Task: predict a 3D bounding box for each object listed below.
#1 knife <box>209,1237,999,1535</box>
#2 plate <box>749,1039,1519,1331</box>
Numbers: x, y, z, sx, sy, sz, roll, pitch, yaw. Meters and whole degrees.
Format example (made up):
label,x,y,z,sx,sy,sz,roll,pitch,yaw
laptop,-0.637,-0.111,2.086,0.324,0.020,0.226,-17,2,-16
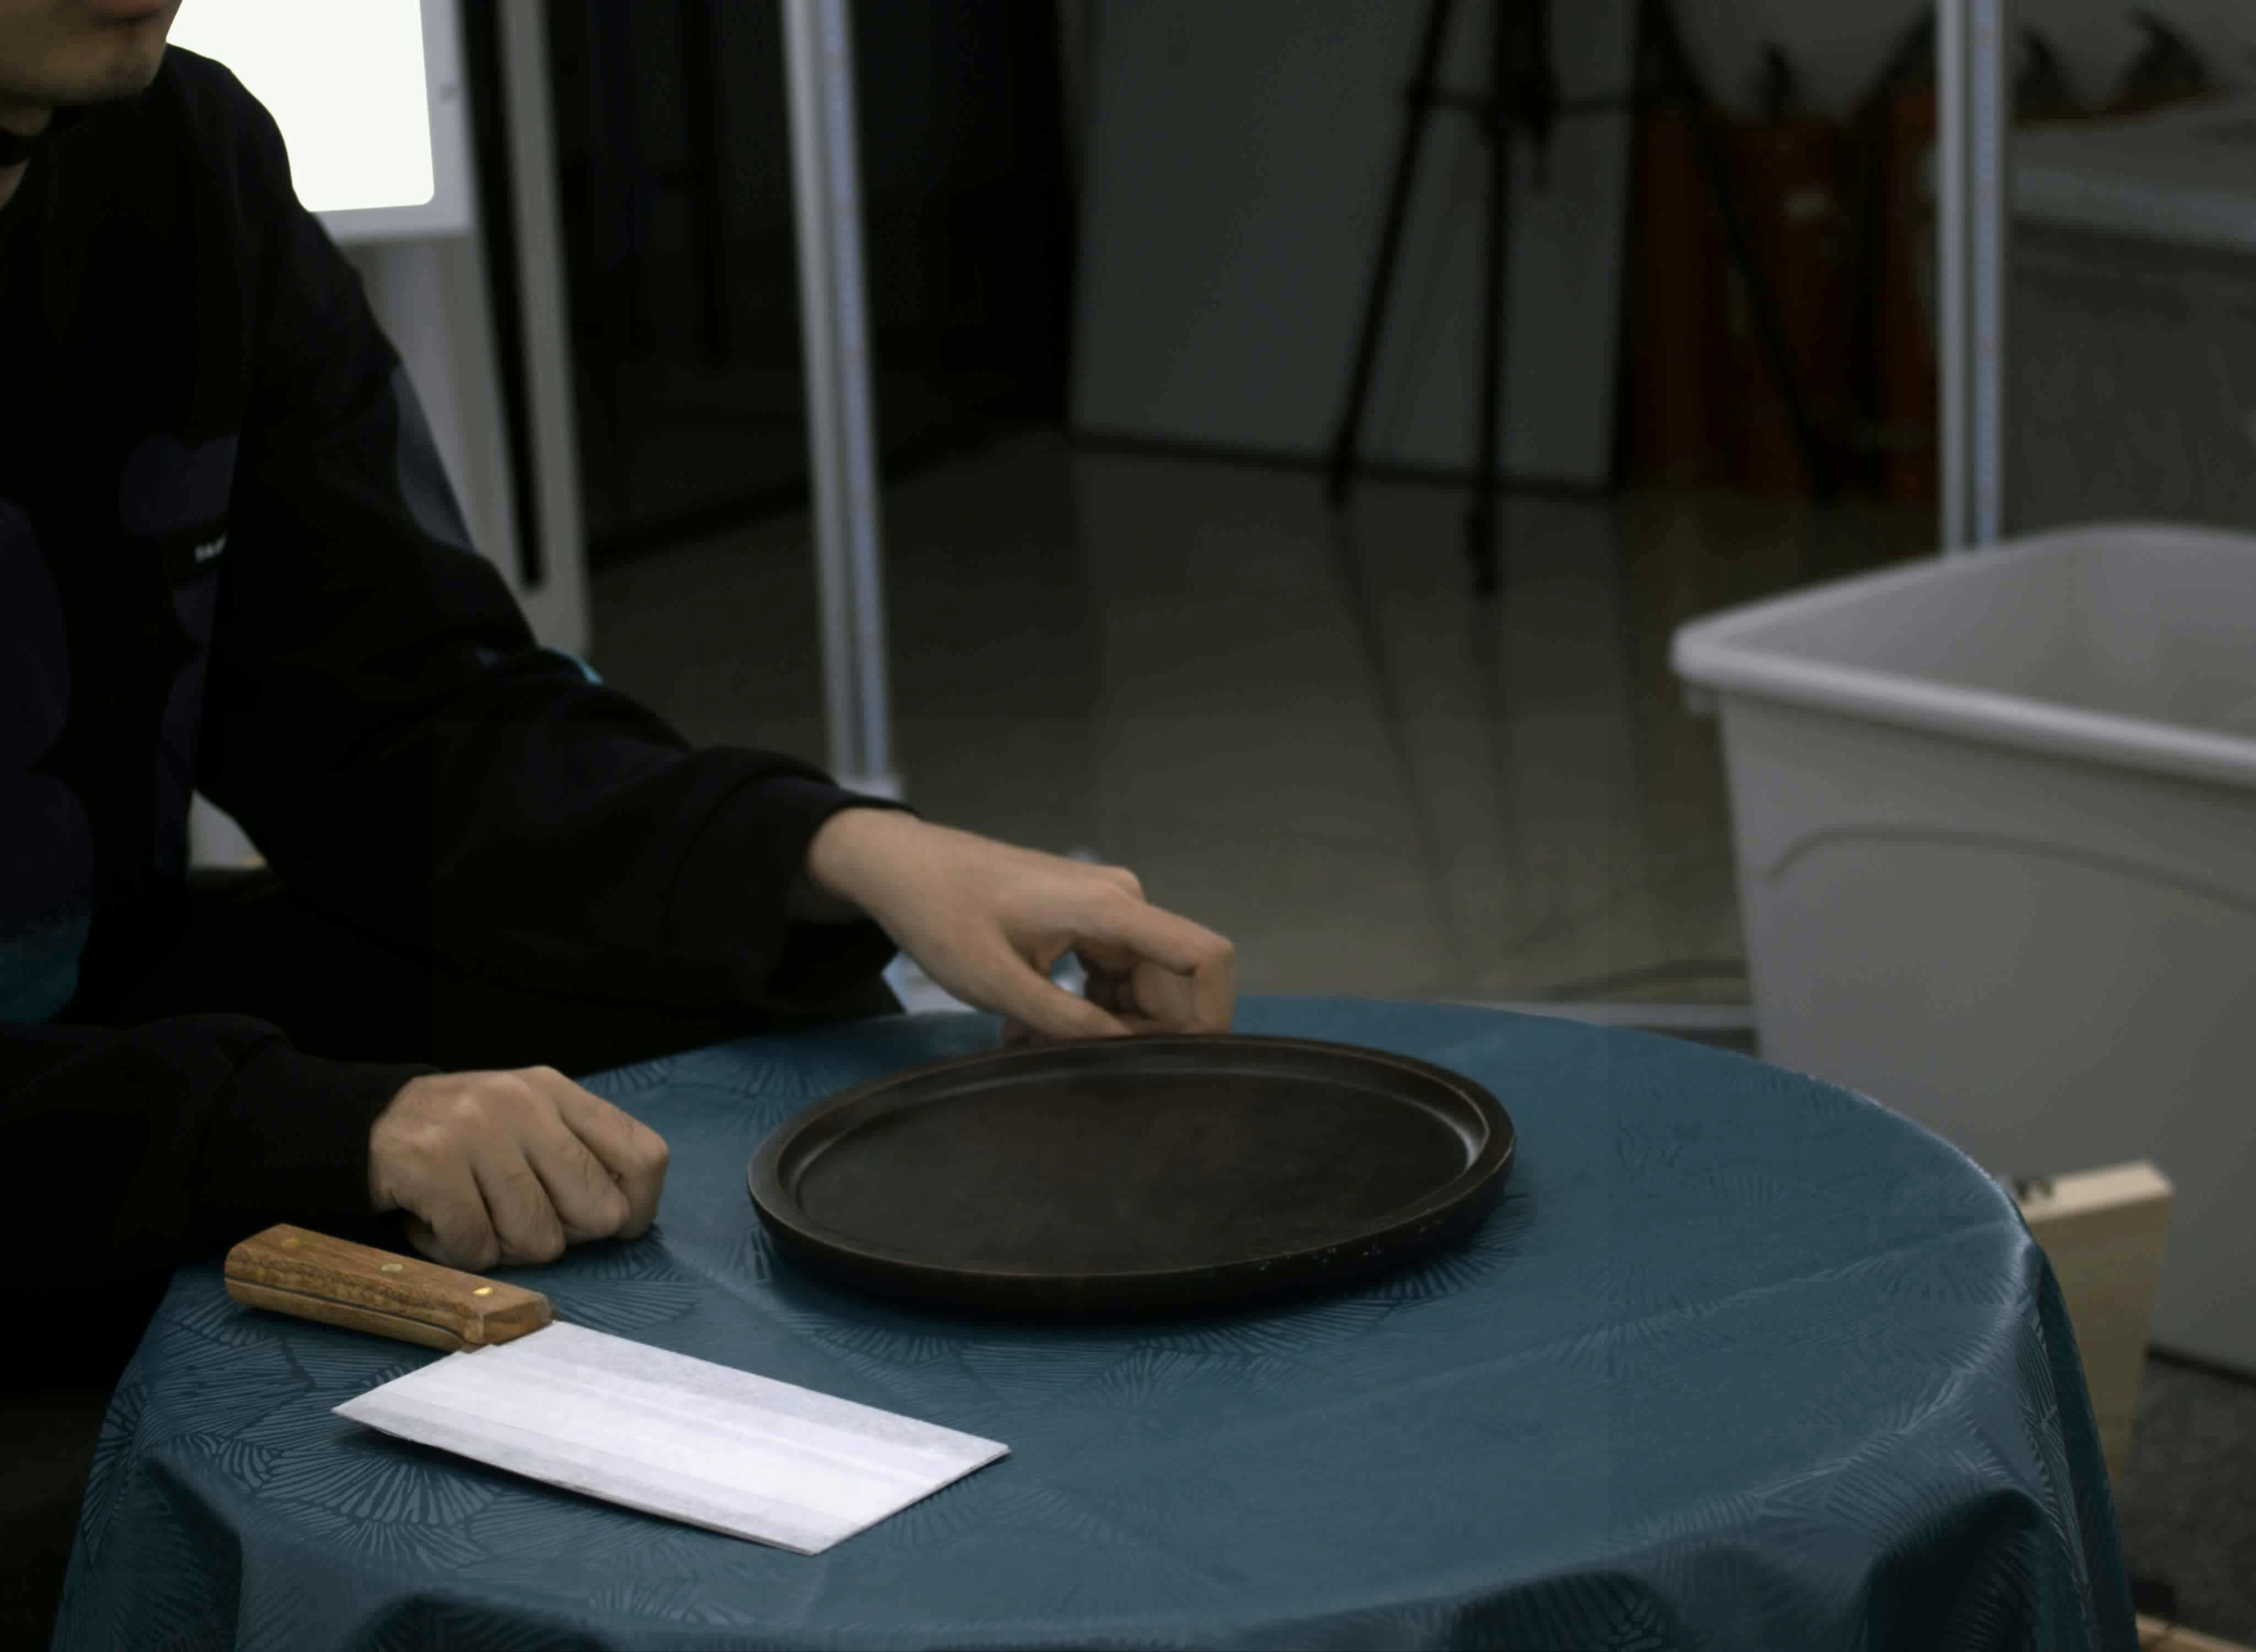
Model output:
label,x,y,z,sx,sy,sz,roll,pitch,yaw
knife,-0.177,0.168,1.603,0.308,0.021,0.091,10,21,38
plate,0.002,0.113,1.749,0.251,0.029,0.255,-4,16,0
